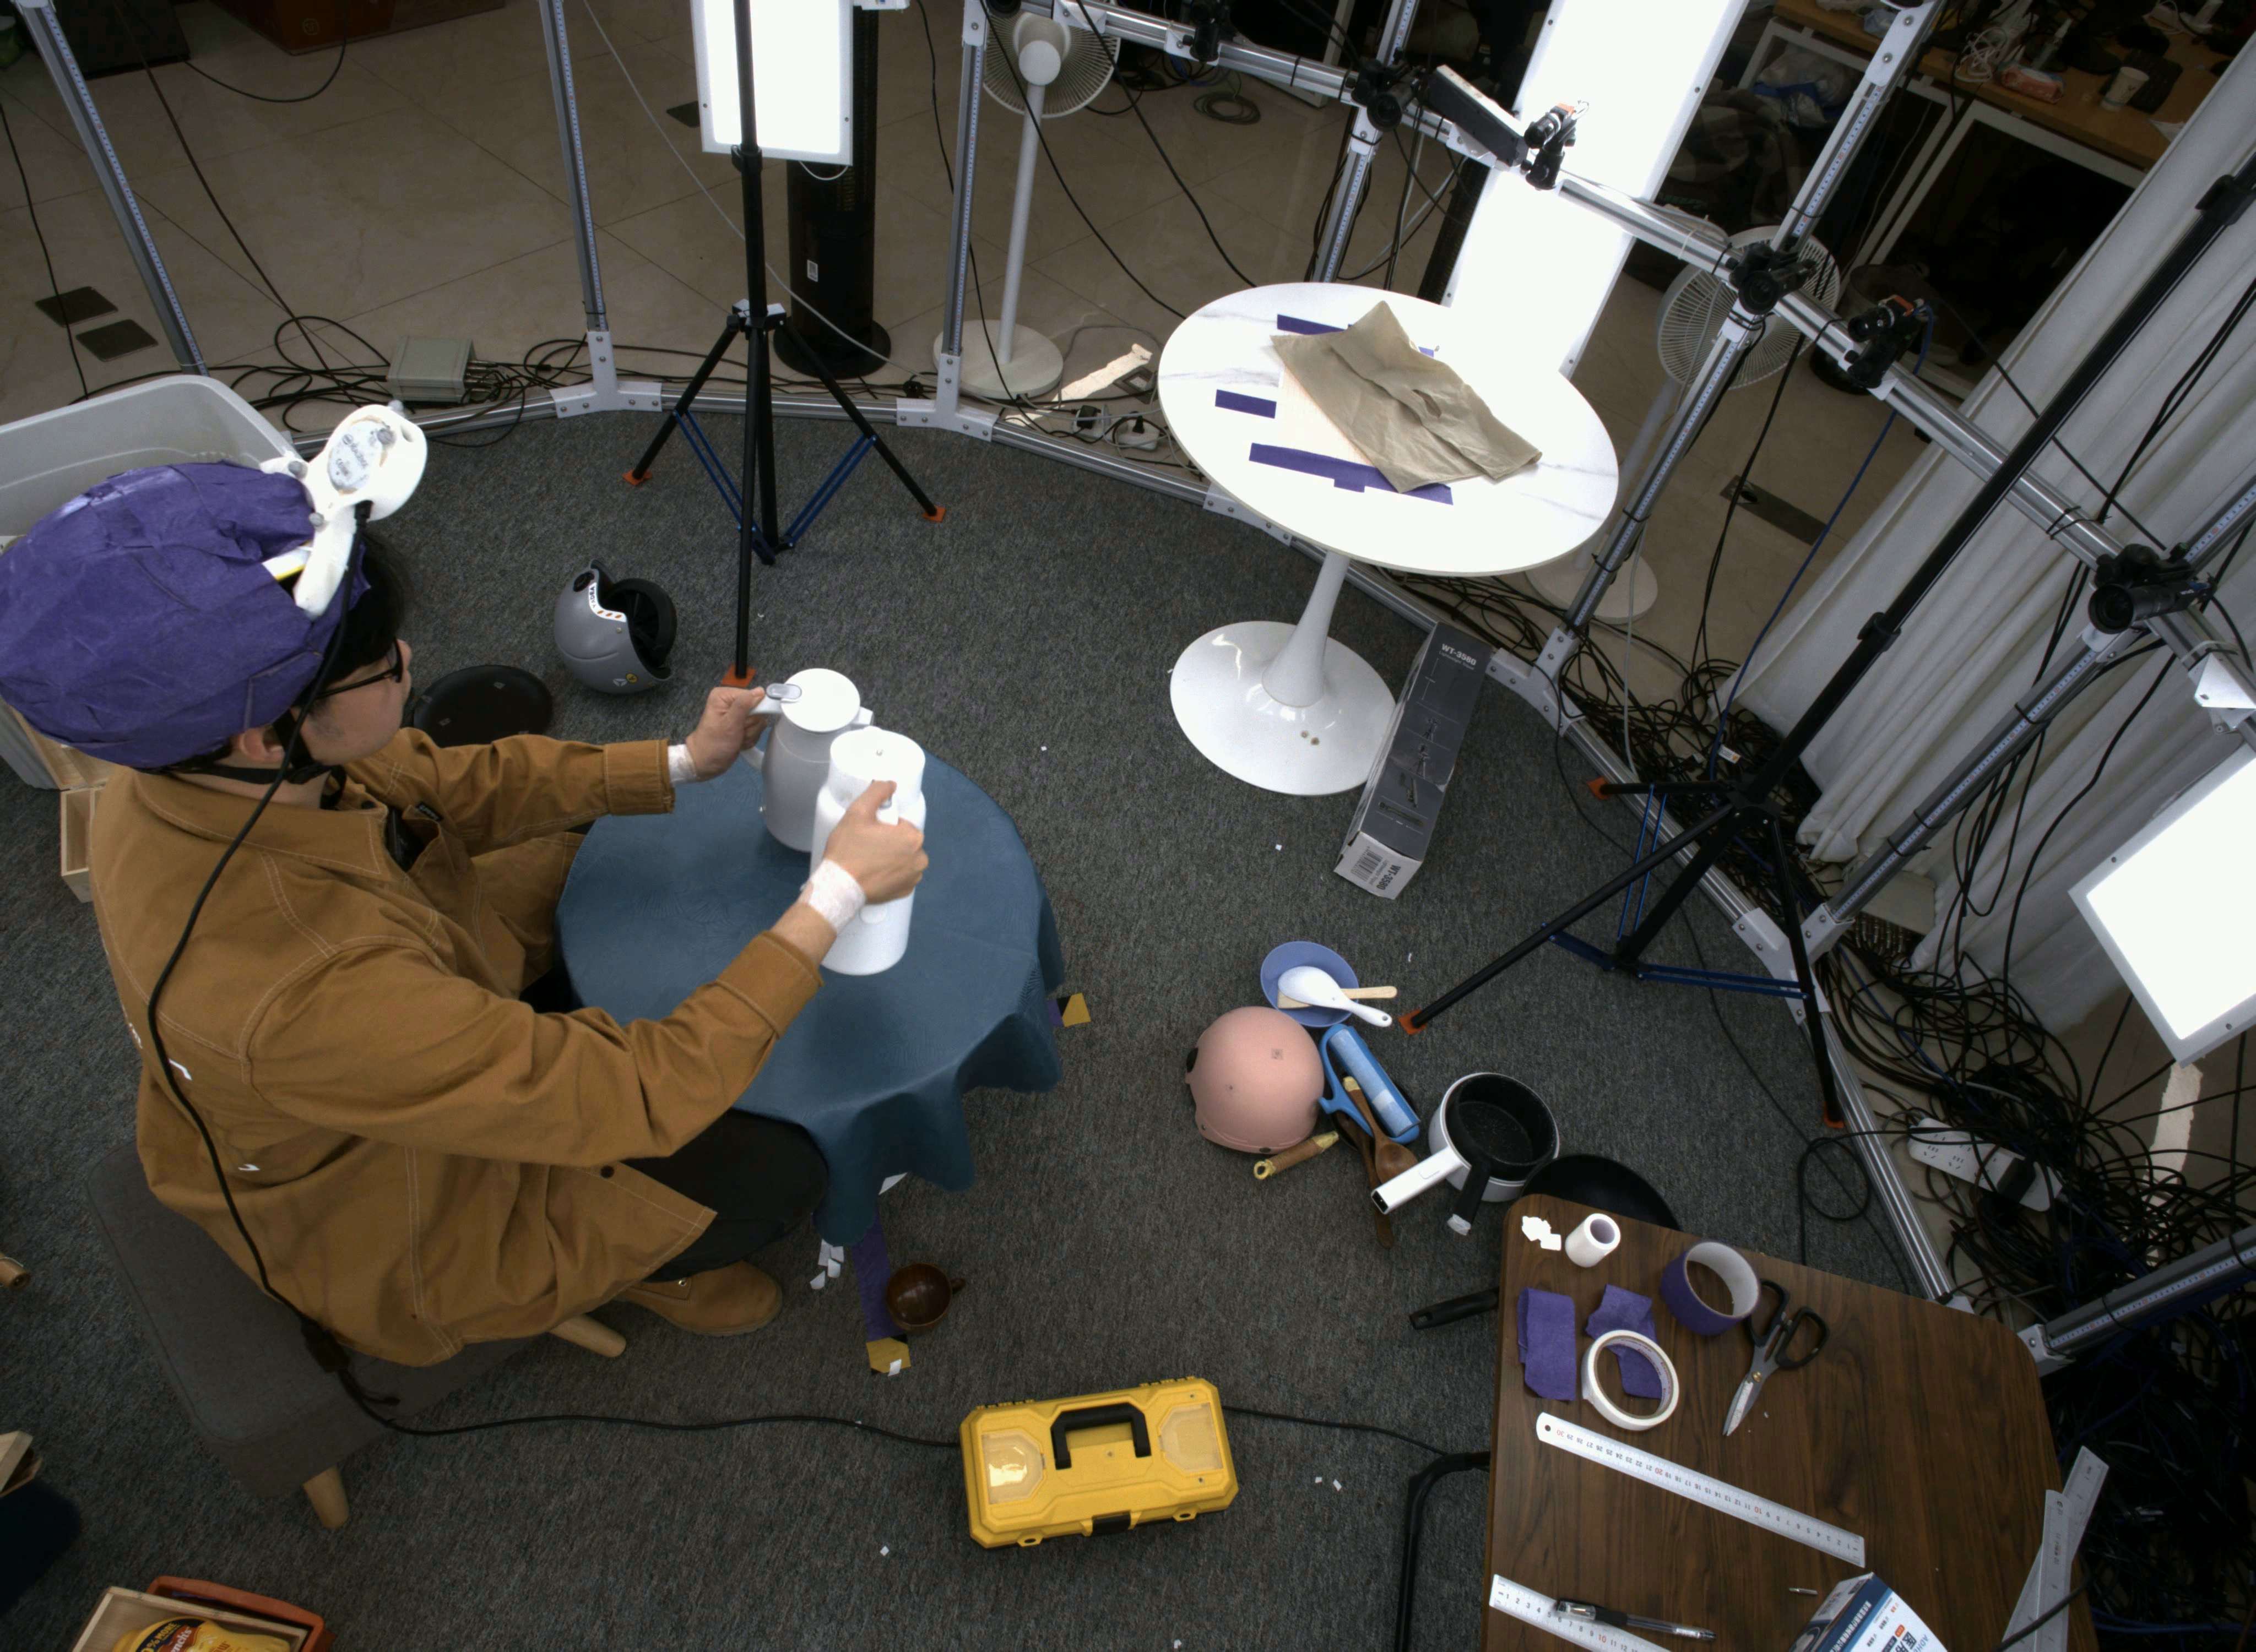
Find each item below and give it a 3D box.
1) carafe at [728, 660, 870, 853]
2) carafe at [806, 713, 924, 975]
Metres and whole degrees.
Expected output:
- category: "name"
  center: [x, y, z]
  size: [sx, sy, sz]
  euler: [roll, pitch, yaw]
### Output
- category: "carafe"
  center: [-0.401, -0.092, 1.578]
  size: [0.167, 0.252, 0.130]
  euler: [9, 56, -8]
- category: "carafe"
  center: [-0.283, 0.037, 1.408]
  size: [0.125, 0.275, 0.167]
  euler: [2, 37, -20]
